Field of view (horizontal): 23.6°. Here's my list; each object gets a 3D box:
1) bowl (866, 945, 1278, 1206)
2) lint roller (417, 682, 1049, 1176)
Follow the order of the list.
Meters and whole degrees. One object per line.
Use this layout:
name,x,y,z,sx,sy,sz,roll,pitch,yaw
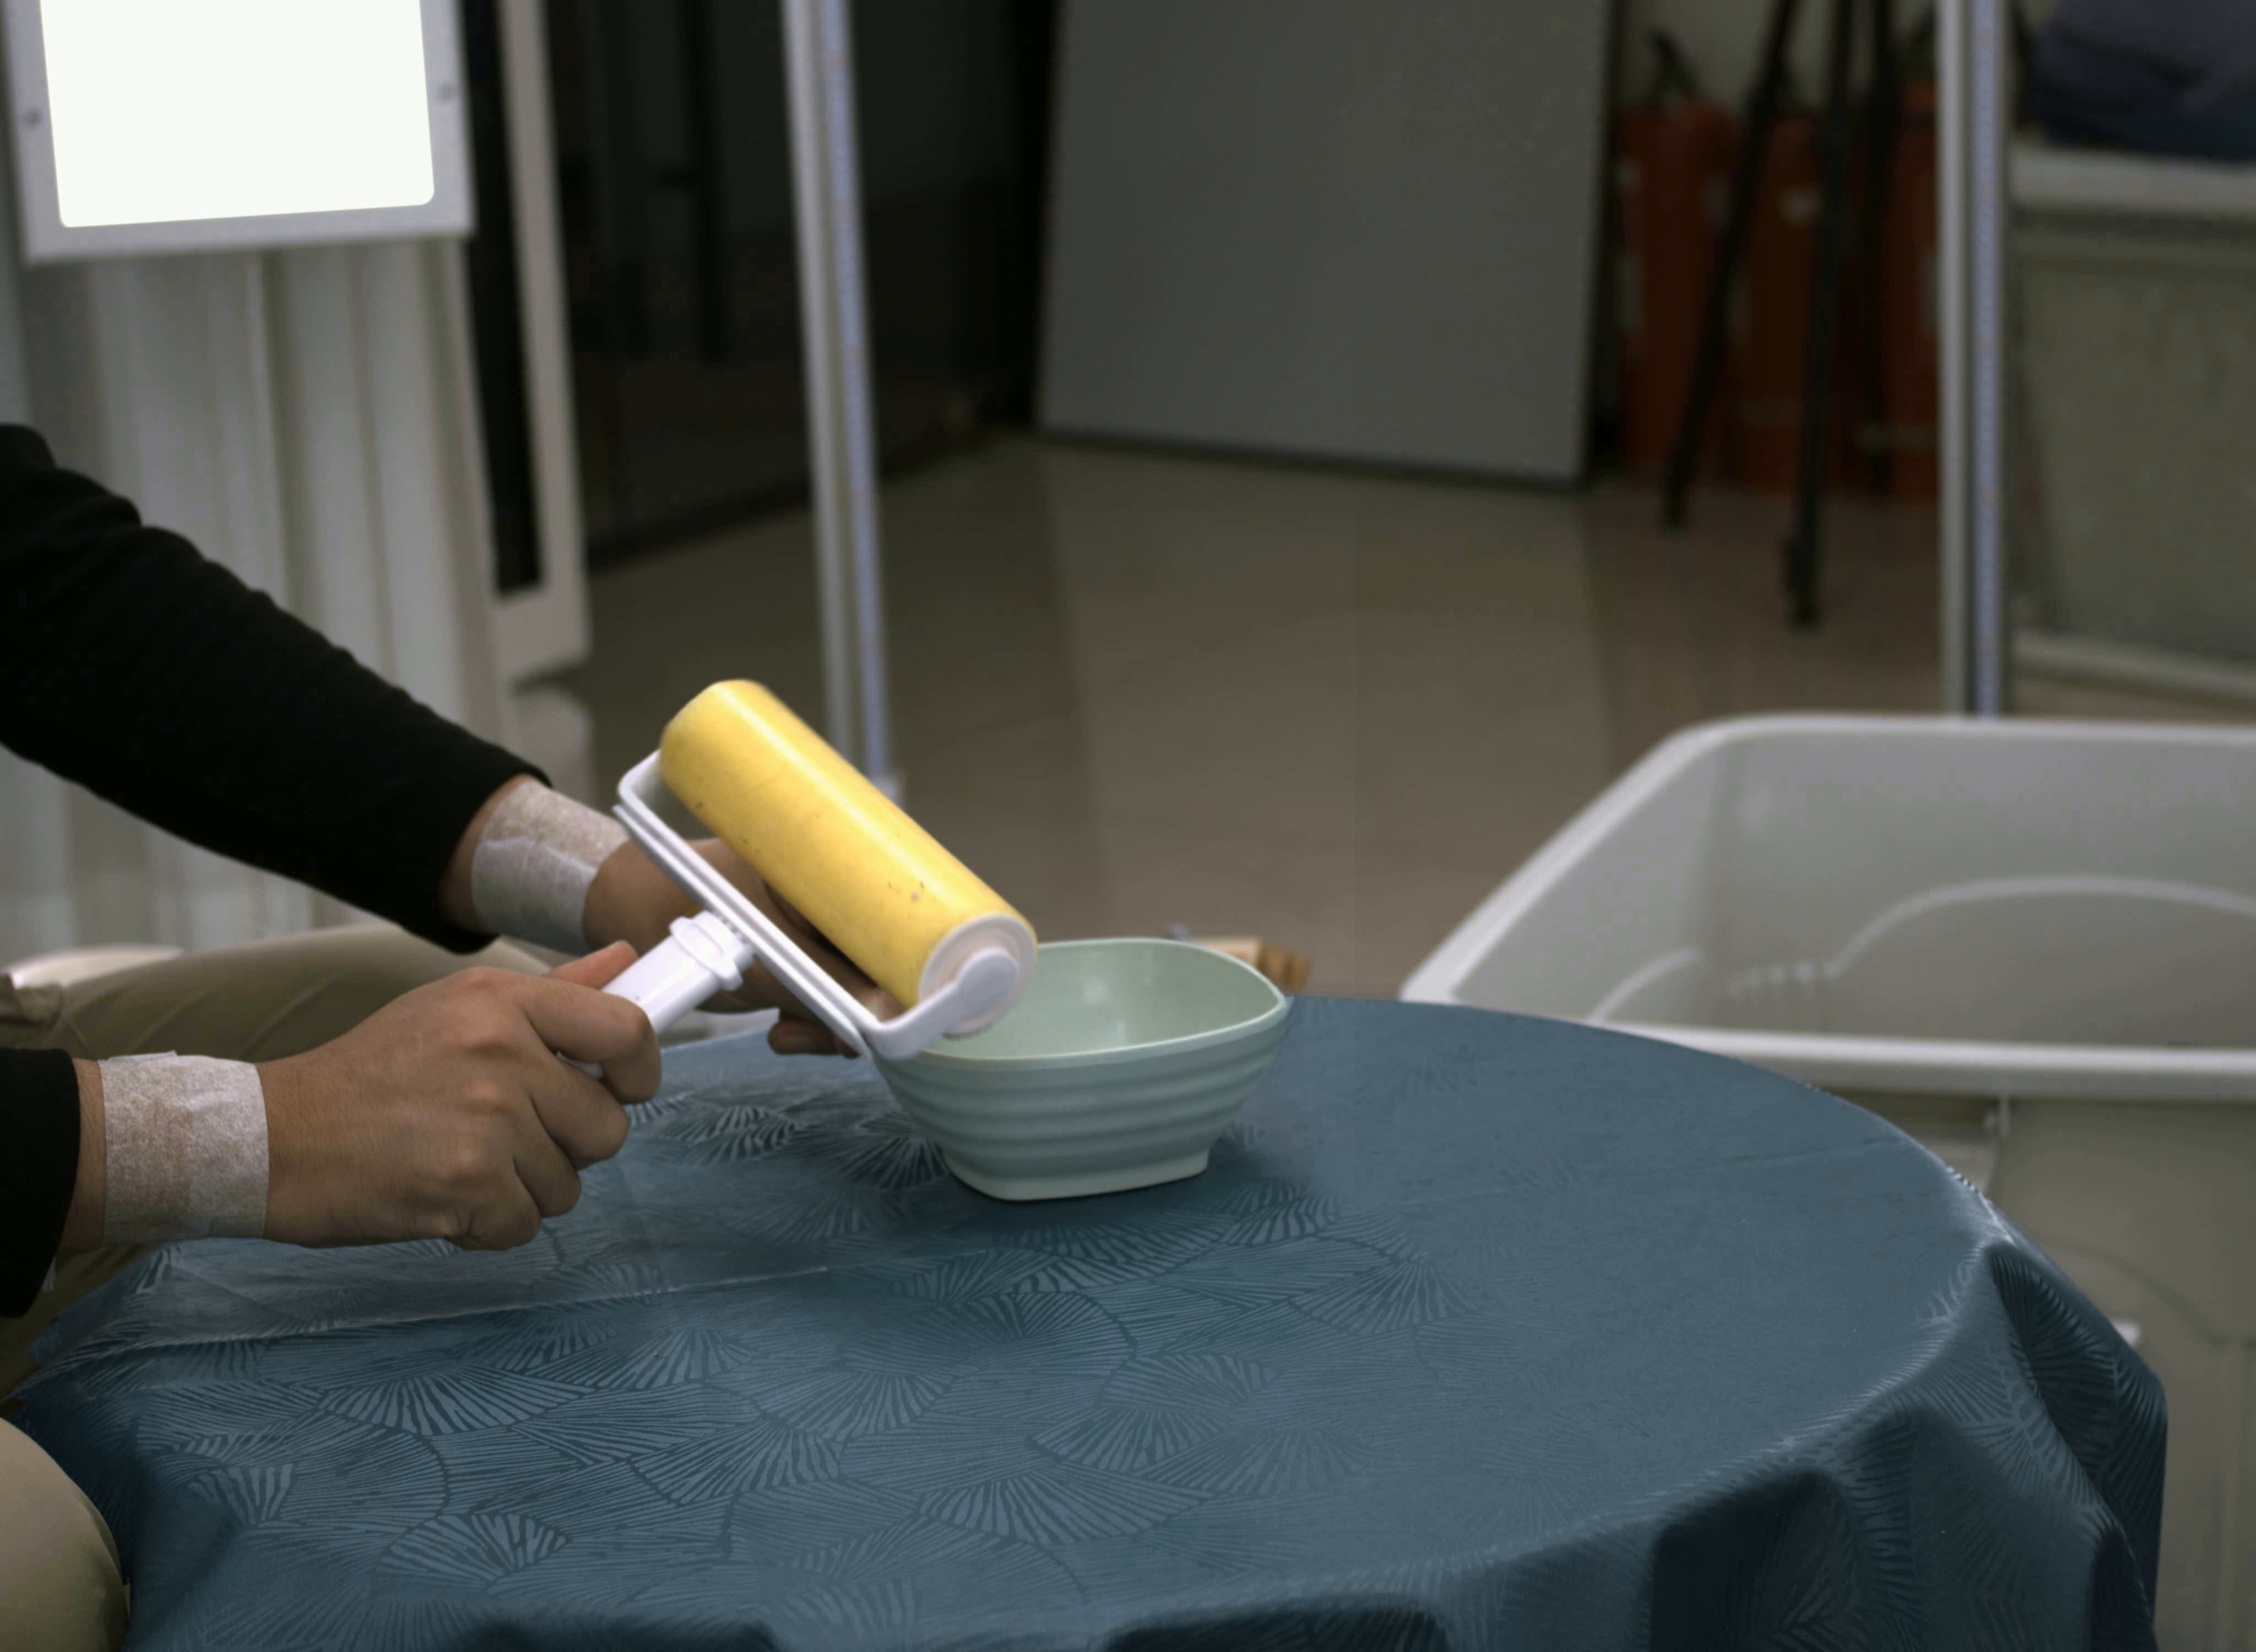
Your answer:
bowl,-0.021,0.085,1.799,0.149,0.059,0.151,-2,13,-1
lint roller,-0.145,0.045,1.713,0.189,0.051,0.176,-29,43,-21
